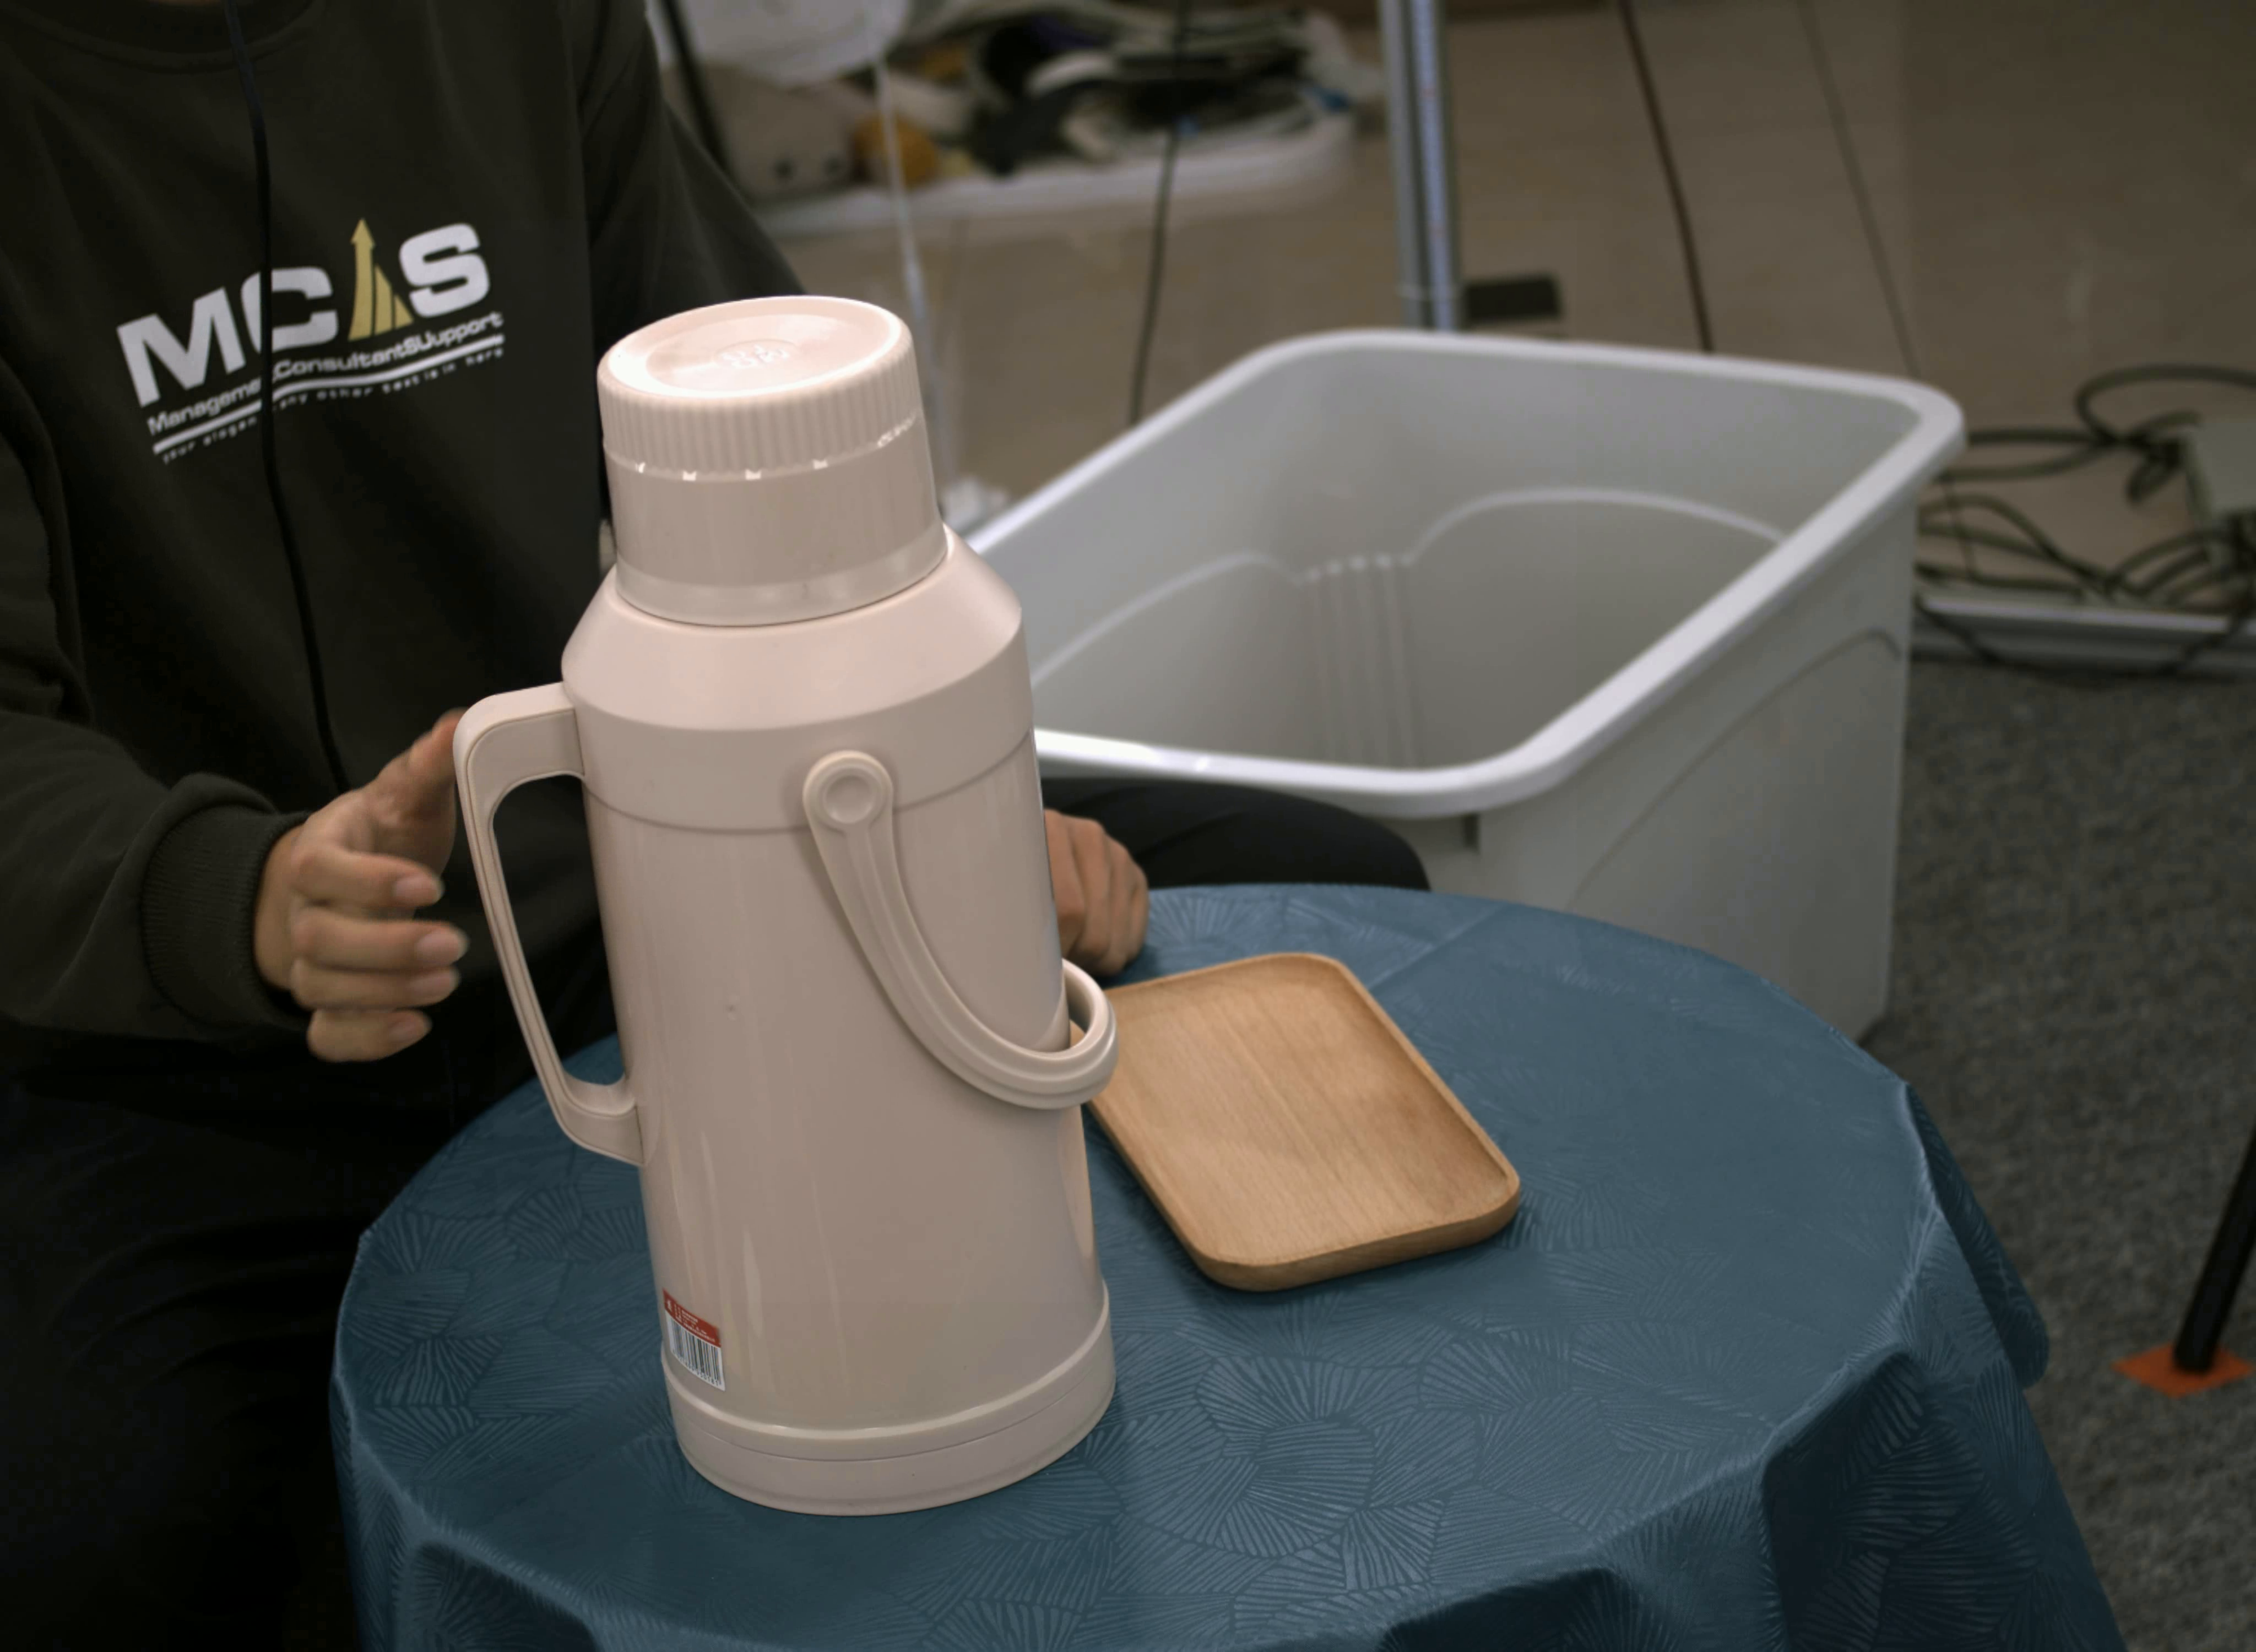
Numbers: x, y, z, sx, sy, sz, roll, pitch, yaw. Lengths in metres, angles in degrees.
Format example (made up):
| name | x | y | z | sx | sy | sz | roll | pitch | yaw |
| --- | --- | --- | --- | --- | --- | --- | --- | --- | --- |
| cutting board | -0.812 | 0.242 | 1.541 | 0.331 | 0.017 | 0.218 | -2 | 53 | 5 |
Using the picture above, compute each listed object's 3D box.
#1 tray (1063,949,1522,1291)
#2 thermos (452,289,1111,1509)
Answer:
| name | x | y | z | sx | sy | sz | roll | pitch | yaw |
| --- | --- | --- | --- | --- | --- | --- | --- | --- | --- |
| tray | 0.057 | 0.111 | 2.176 | 0.130 | 0.023 | 0.247 | -10 | 24 | -13 |
| thermos | -0.118 | 0.026 | 1.938 | 0.206 | 0.413 | 0.173 | -11 | 27 | -11 |
